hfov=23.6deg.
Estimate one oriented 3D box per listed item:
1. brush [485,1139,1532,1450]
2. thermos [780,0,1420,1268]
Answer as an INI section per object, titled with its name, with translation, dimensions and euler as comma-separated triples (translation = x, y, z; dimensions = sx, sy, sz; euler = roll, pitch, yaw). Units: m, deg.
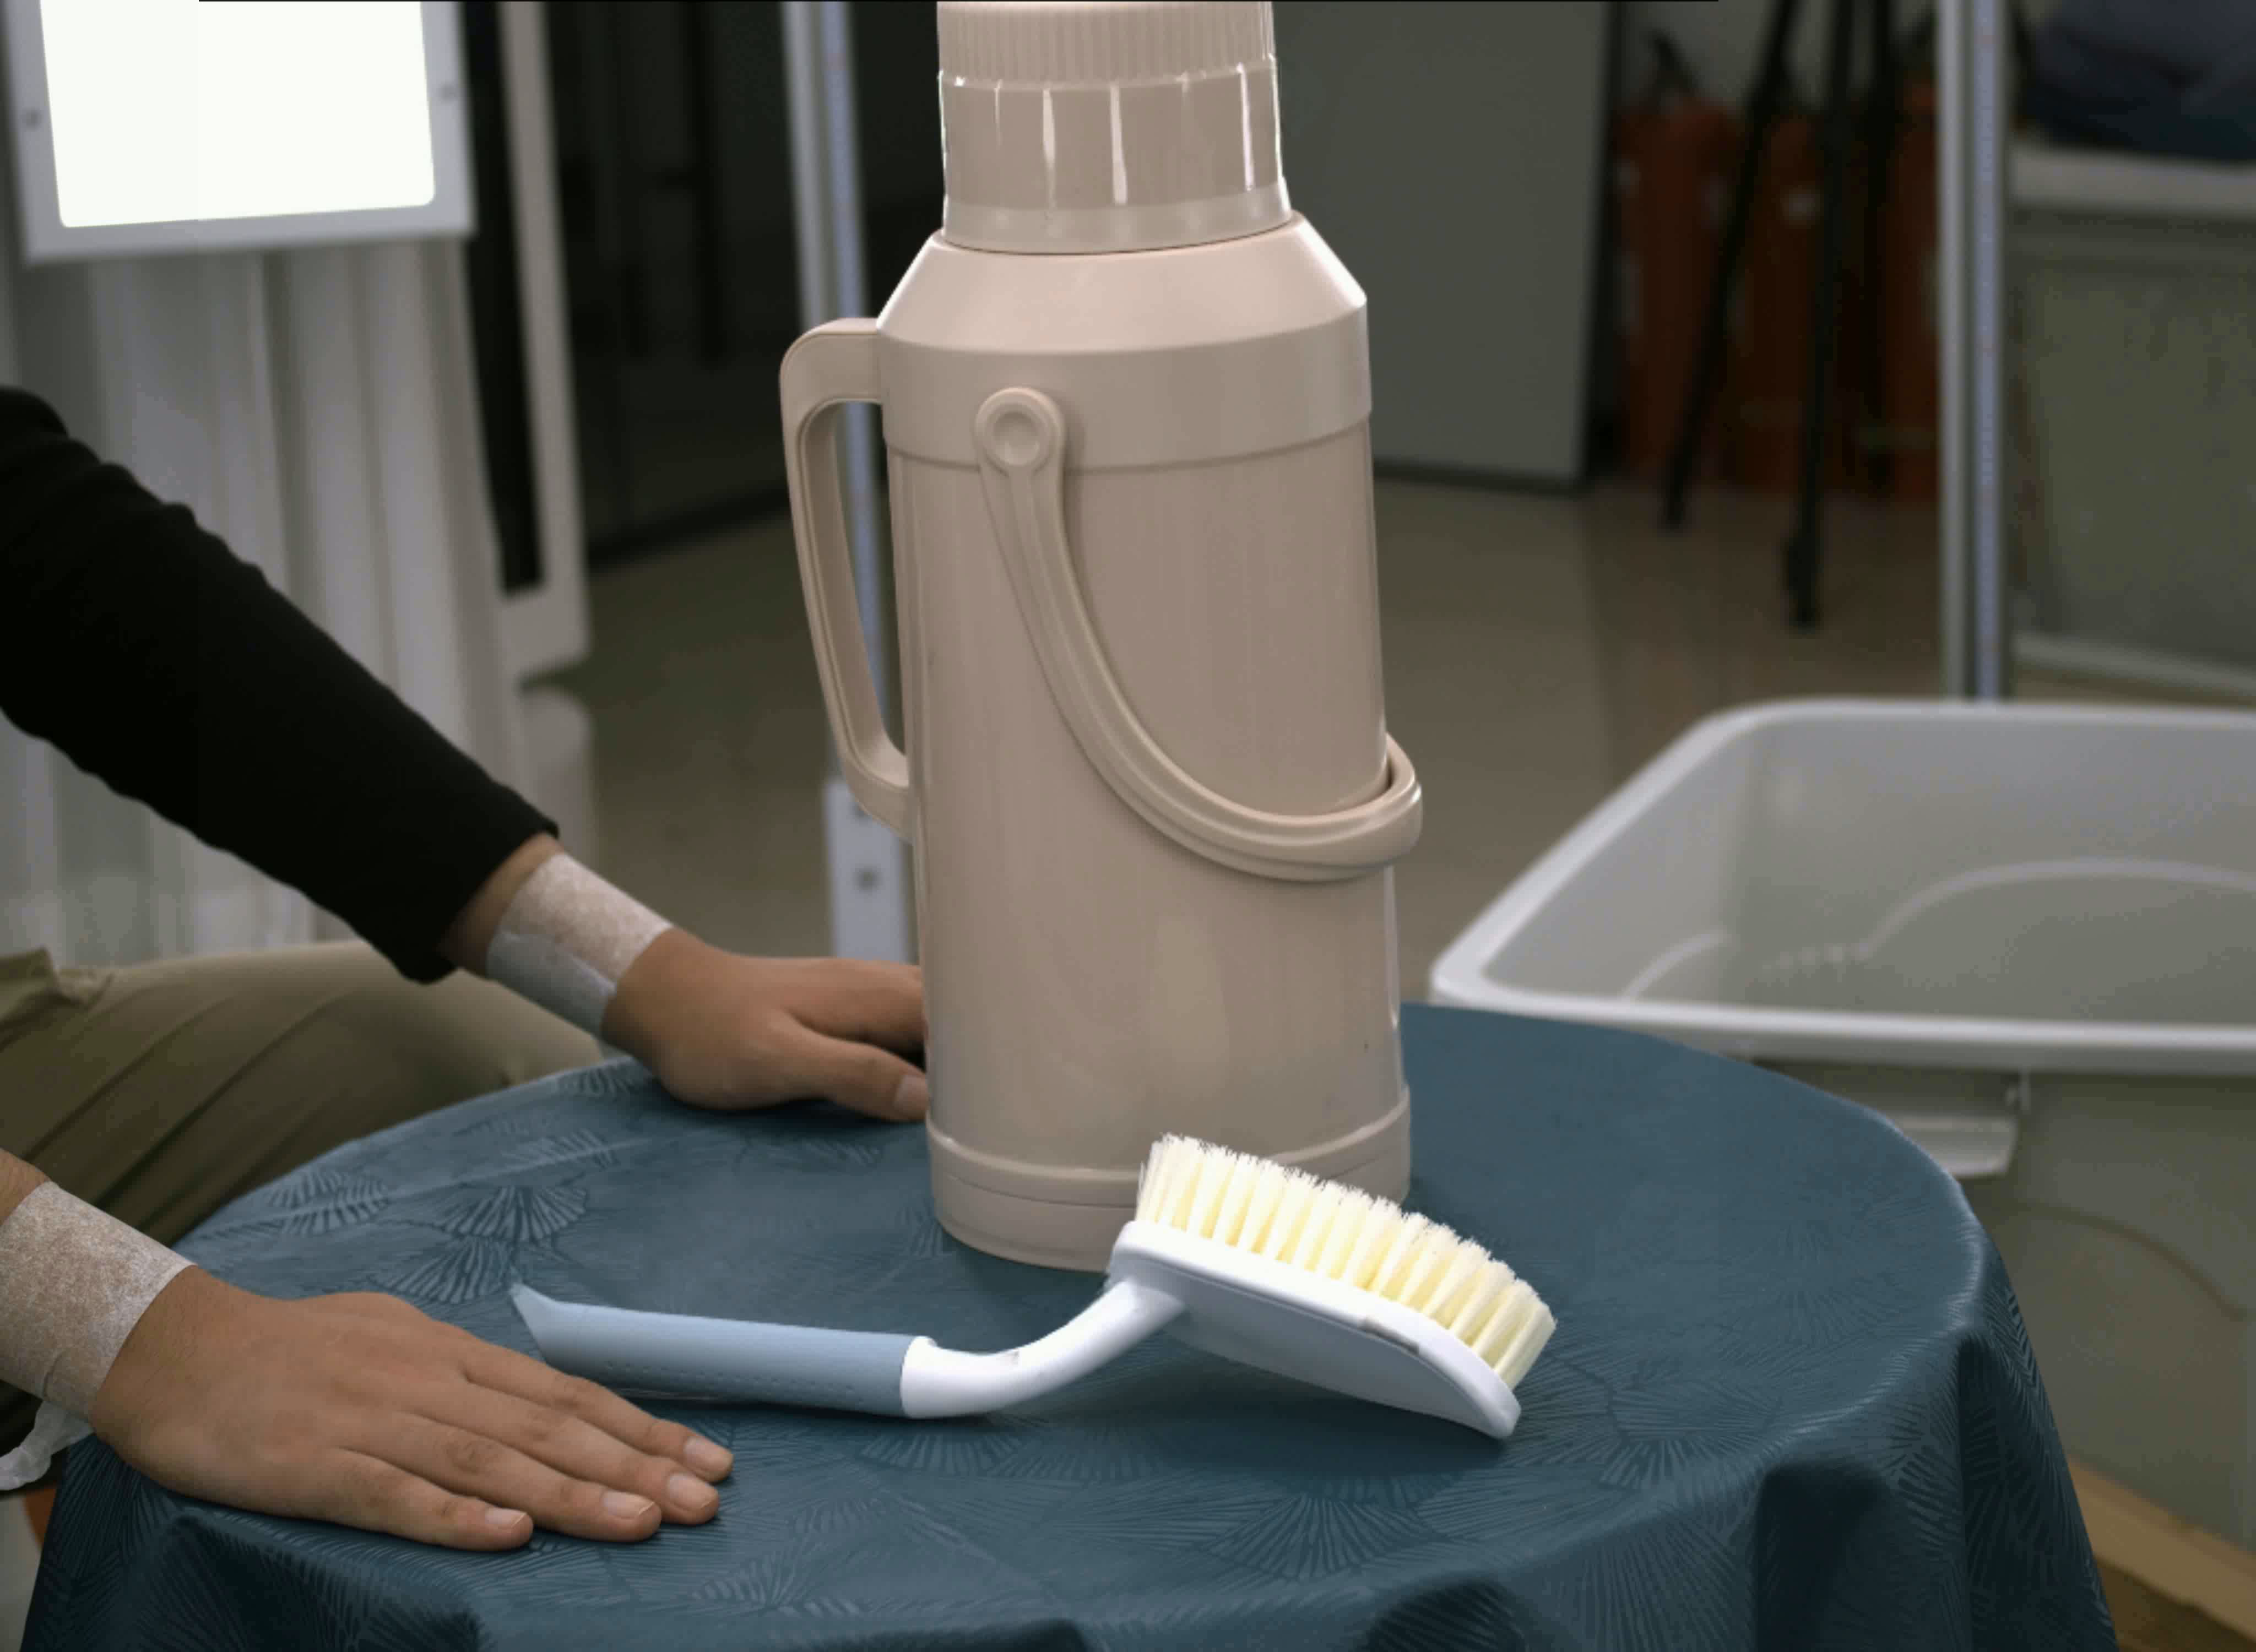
[brush]
translation = -0.036, 0.128, 1.581
dimensions = 0.325, 0.084, 0.084
euler = 3, 20, 22
[thermos]
translation = -0.010, -0.074, 1.727
dimensions = 0.207, 0.410, 0.173
euler = 2, 16, 23
